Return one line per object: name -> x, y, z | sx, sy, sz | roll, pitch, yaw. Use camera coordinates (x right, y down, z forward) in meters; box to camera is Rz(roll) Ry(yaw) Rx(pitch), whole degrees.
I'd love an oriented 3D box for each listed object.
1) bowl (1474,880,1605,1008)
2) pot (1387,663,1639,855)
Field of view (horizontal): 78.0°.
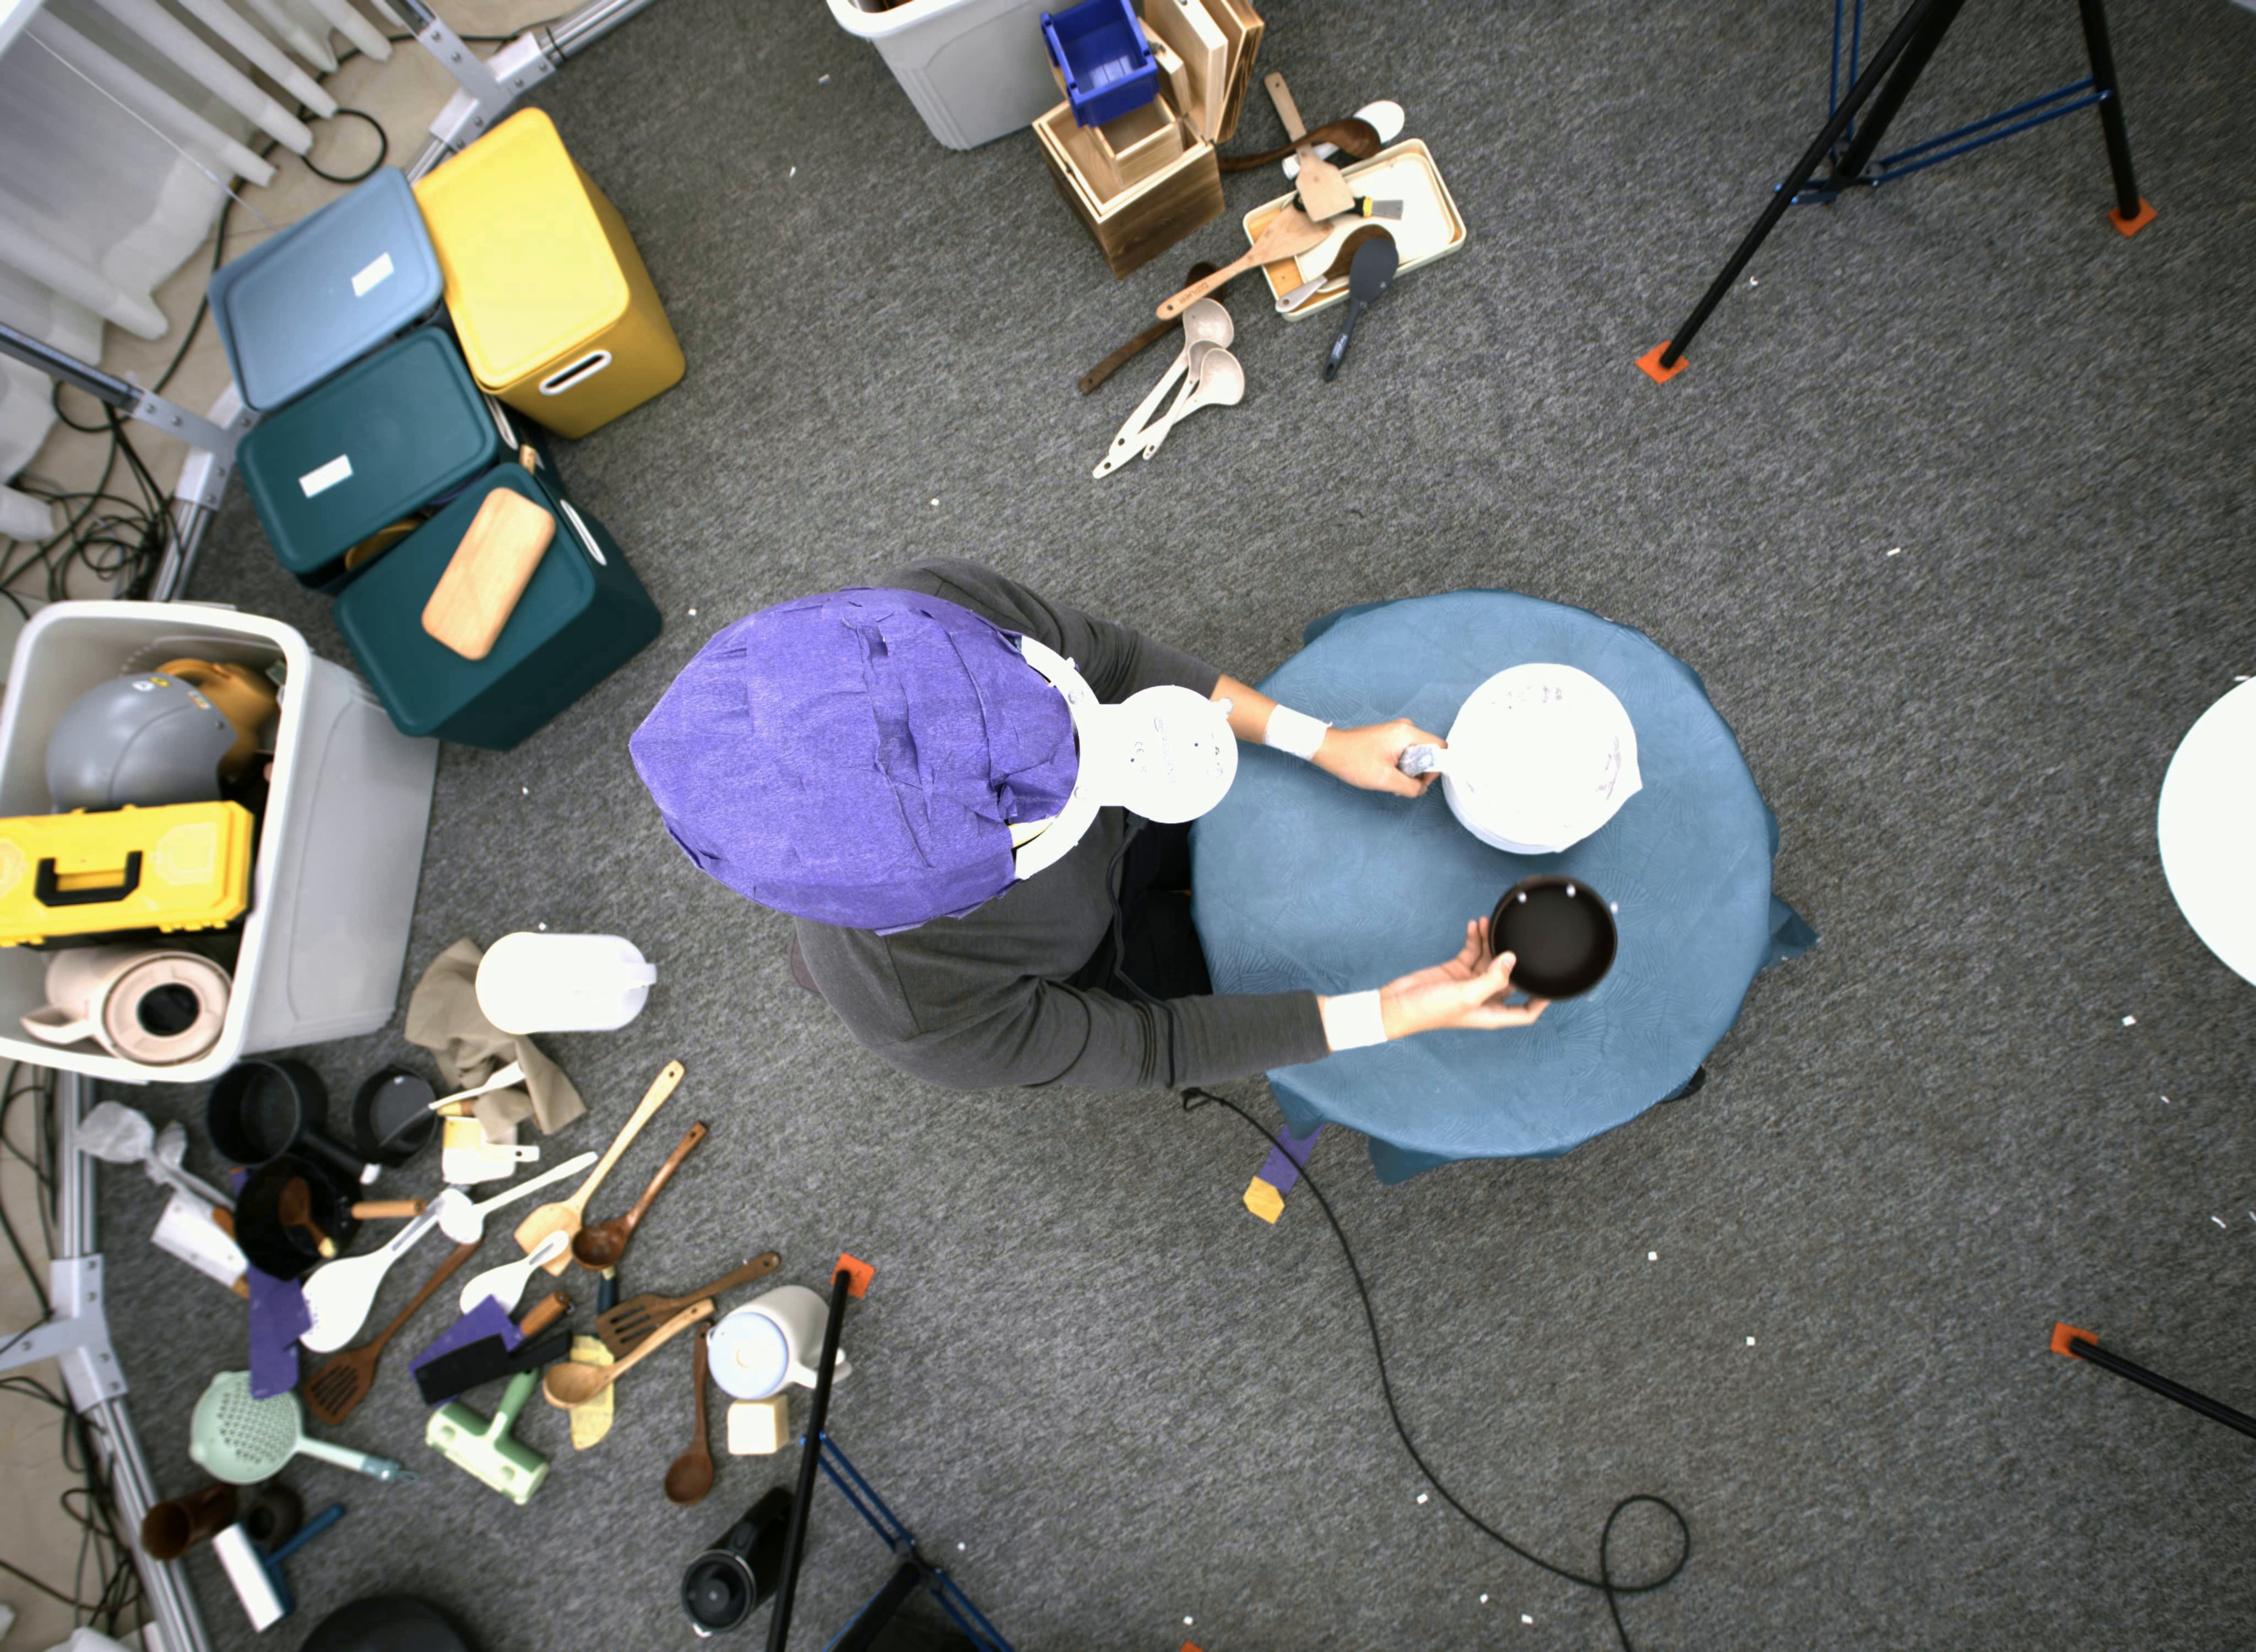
bowl -> 0.388, 0.106, 1.297 | 0.118, 0.069, 0.119 | 3, 100, 18
pot -> 0.379, -0.064, 1.376 | 0.234, 0.137, 0.178 | -2, 85, 10
